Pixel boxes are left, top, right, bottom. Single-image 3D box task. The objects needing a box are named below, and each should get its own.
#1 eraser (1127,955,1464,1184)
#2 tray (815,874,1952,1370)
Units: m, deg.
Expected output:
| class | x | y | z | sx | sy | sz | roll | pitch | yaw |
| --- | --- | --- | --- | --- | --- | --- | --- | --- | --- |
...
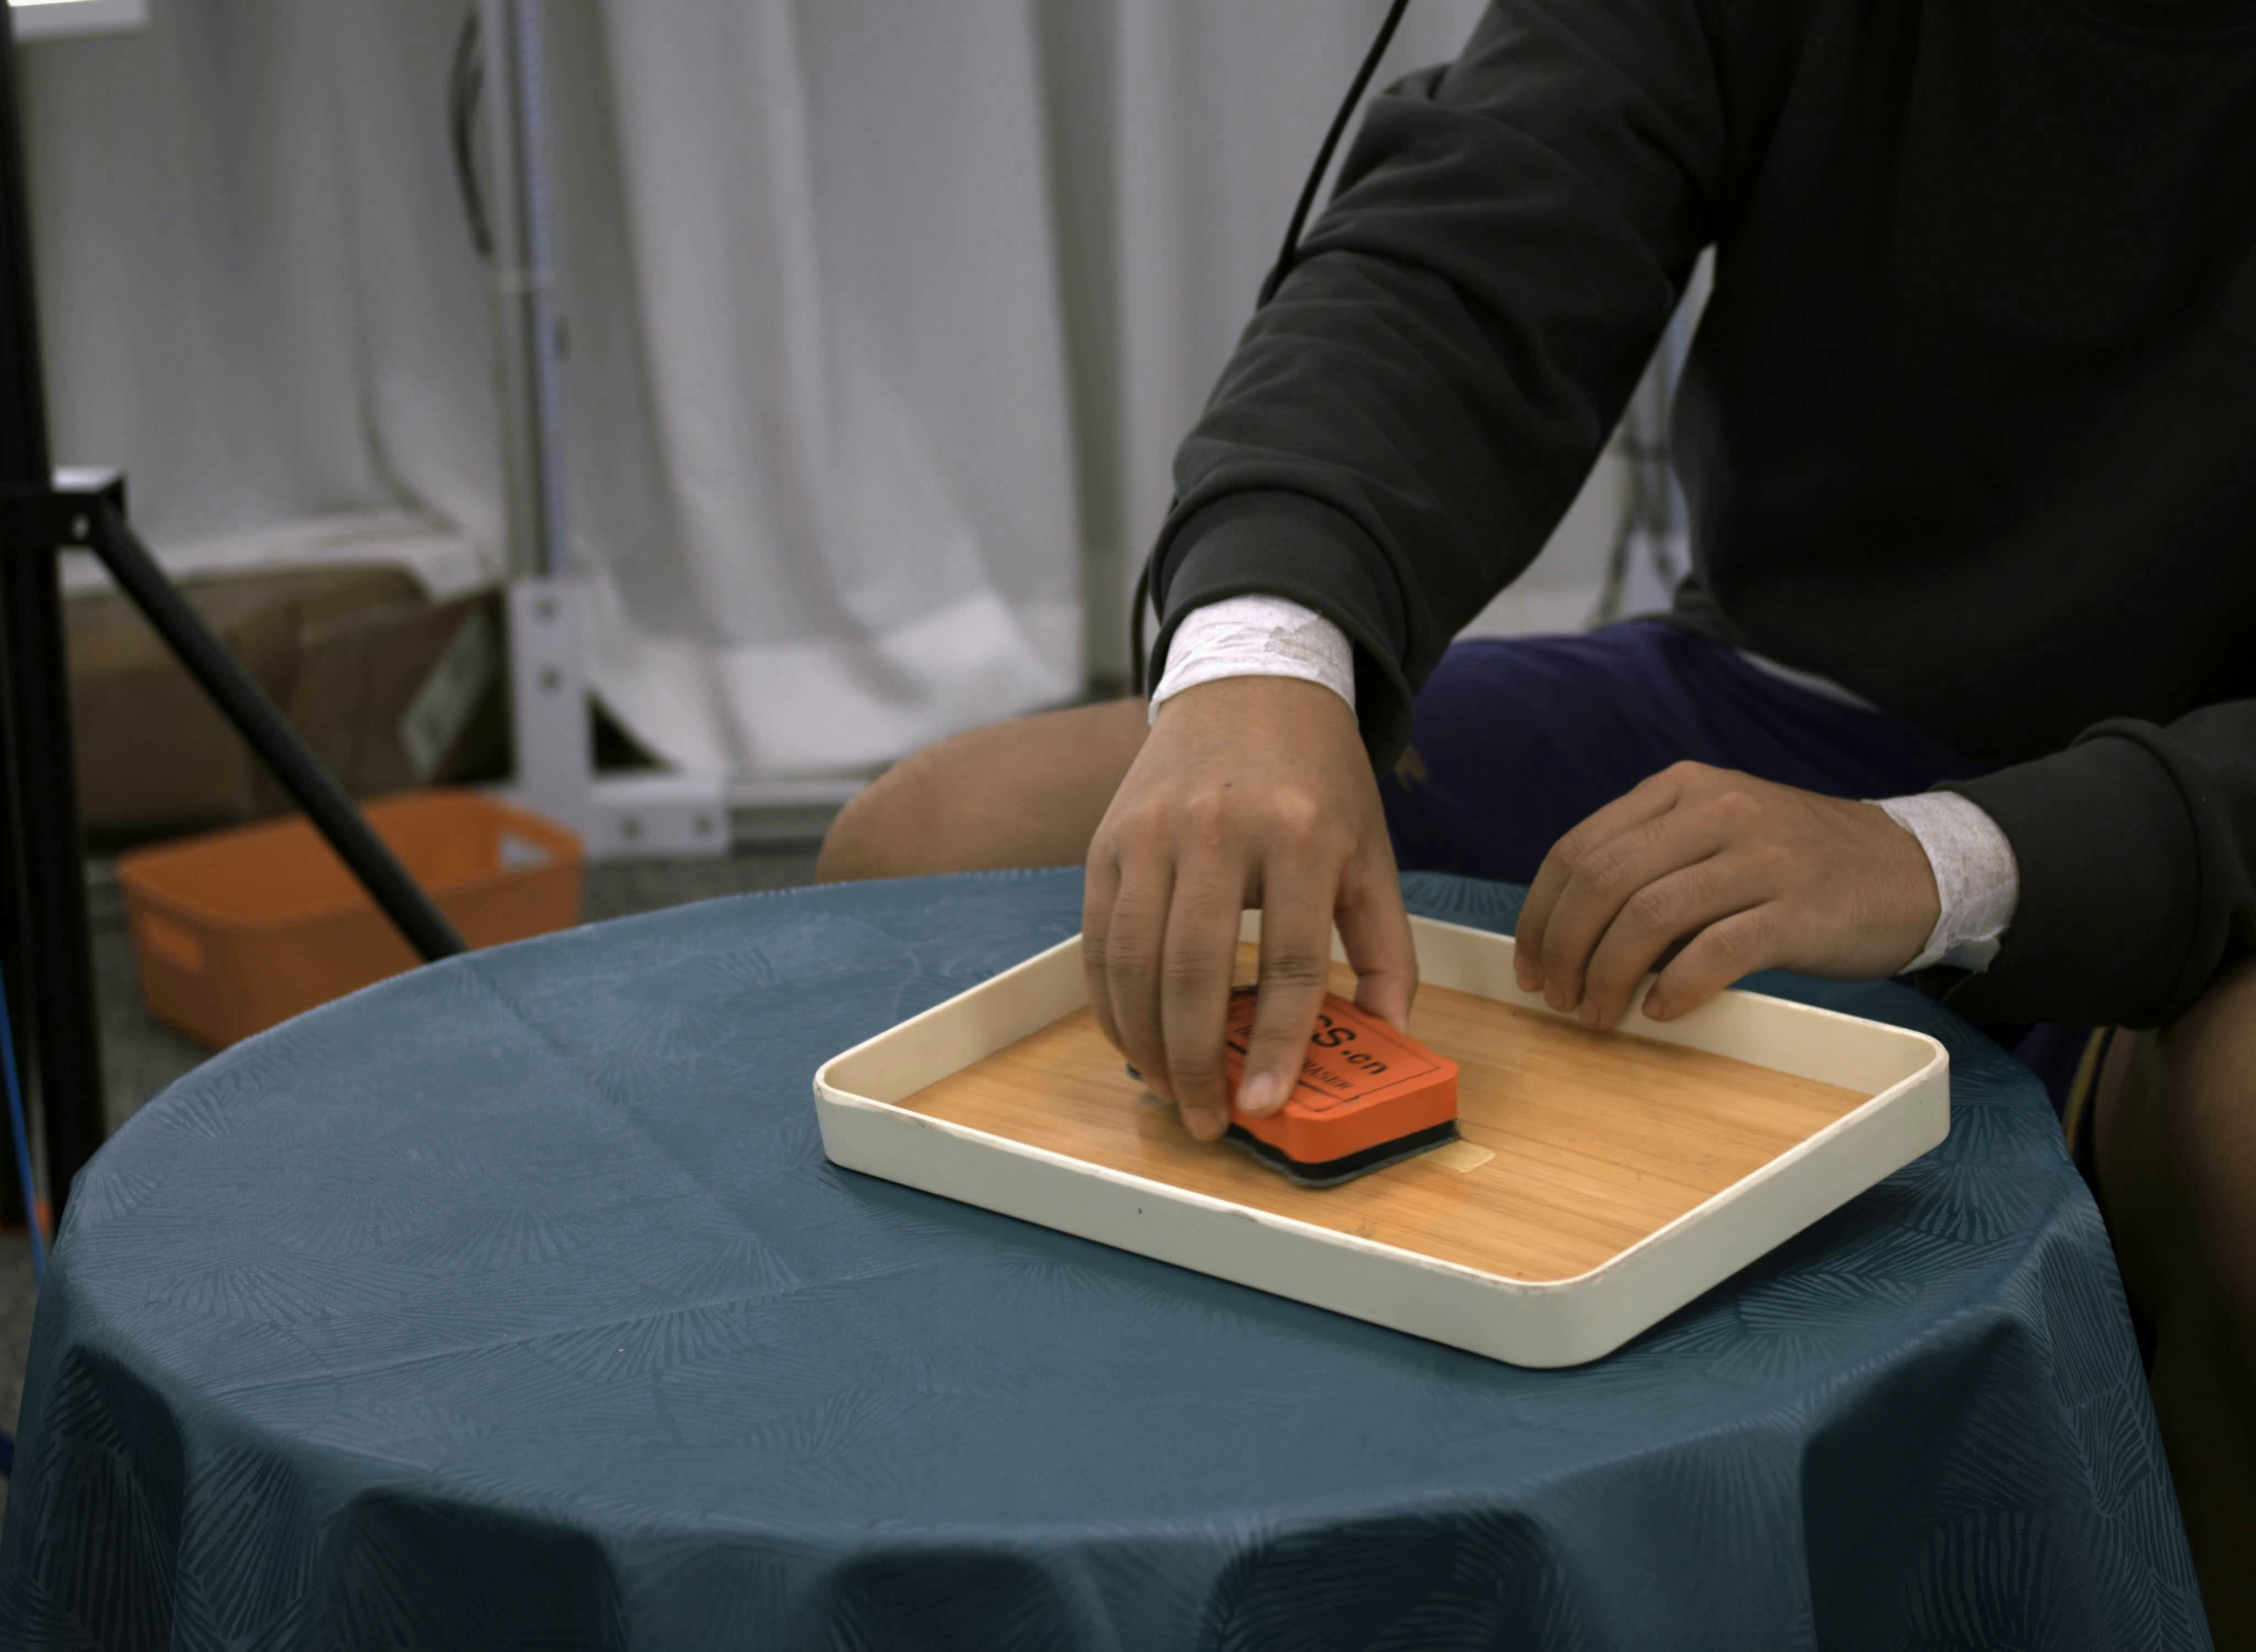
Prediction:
| class | x | y | z | sx | sy | sz | roll | pitch | yaw |
| --- | --- | --- | --- | --- | --- | --- | --- | --- | --- |
| eraser | 0.049 | 0.071 | 1.567 | 0.058 | 0.023 | 0.110 | -19 | 26 | -26 |
| tray | 0.072 | 0.081 | 1.556 | 0.307 | 0.027 | 0.188 | 13 | 29 | 44 |
